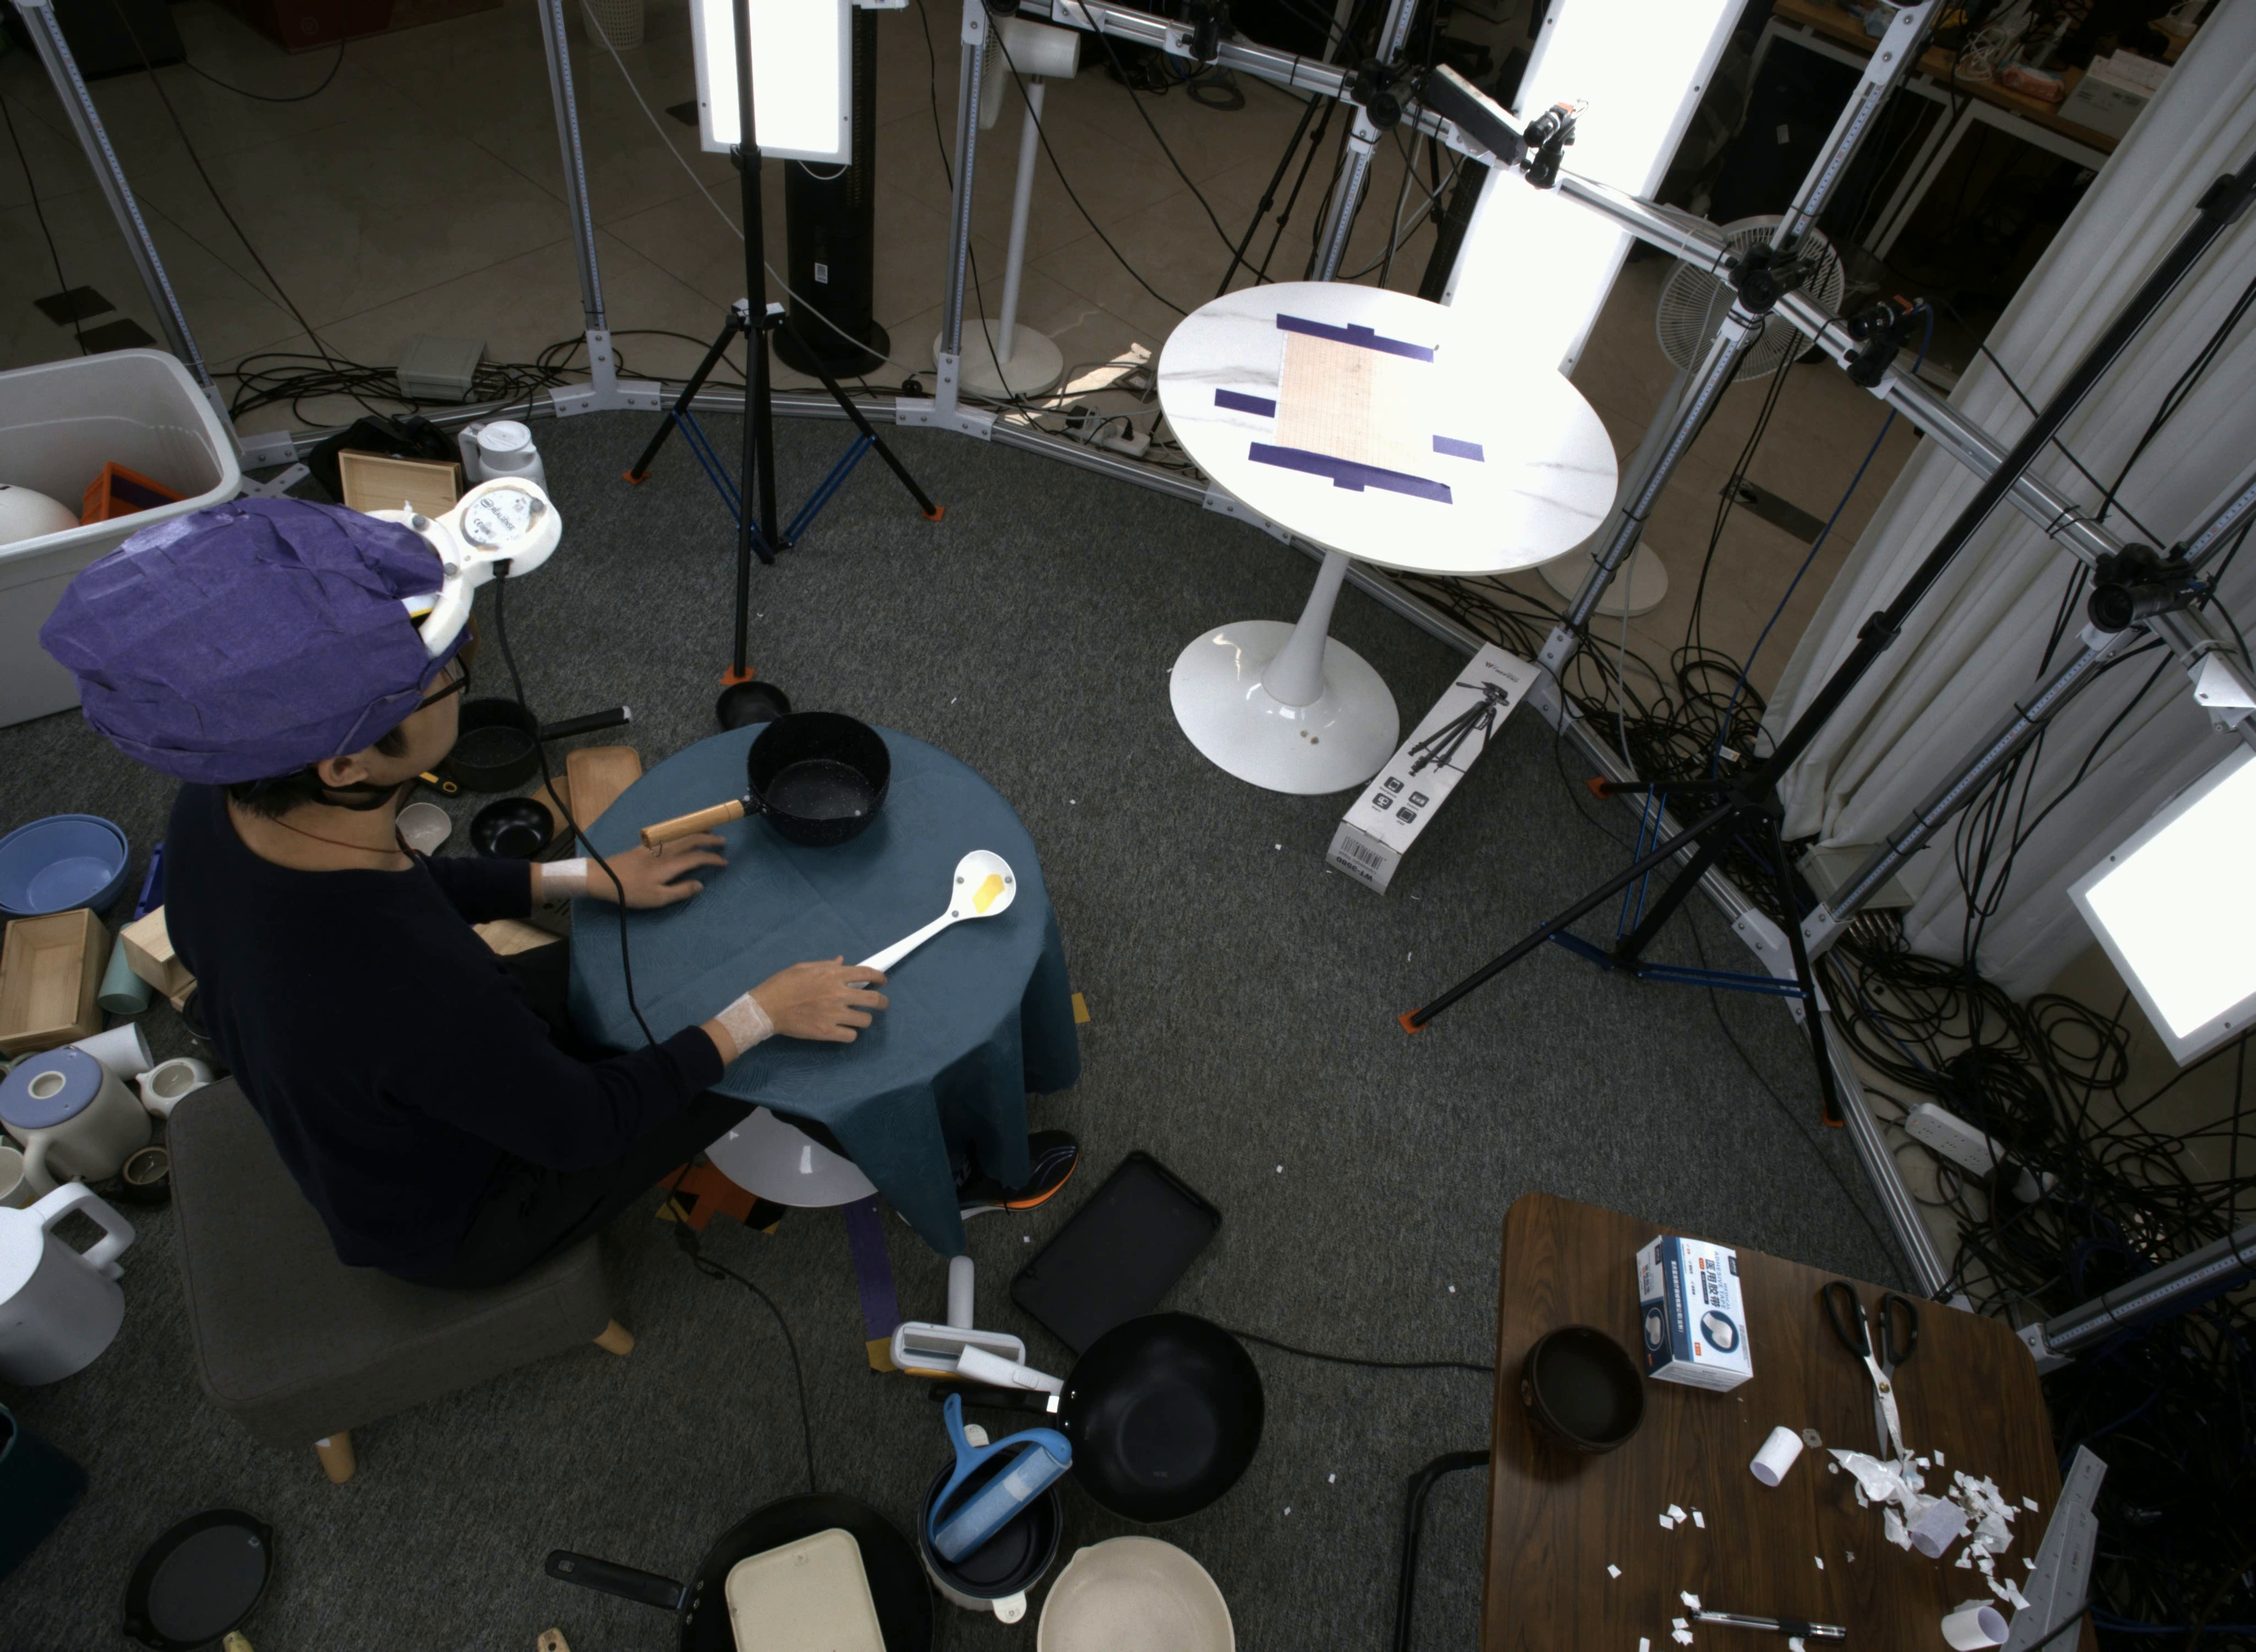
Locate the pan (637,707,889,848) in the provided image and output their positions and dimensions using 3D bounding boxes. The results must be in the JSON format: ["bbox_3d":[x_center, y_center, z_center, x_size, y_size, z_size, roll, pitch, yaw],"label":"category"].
[{"bbox_3d":[-0.465,-0.030,1.656,0.344,0.110,0.203,-31,67,-33],"label":"pan"}]

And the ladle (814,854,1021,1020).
[{"bbox_3d":[-0.260,0.138,1.614,0.294,0.070,0.089,-34,79,-32],"label":"ladle"}]
